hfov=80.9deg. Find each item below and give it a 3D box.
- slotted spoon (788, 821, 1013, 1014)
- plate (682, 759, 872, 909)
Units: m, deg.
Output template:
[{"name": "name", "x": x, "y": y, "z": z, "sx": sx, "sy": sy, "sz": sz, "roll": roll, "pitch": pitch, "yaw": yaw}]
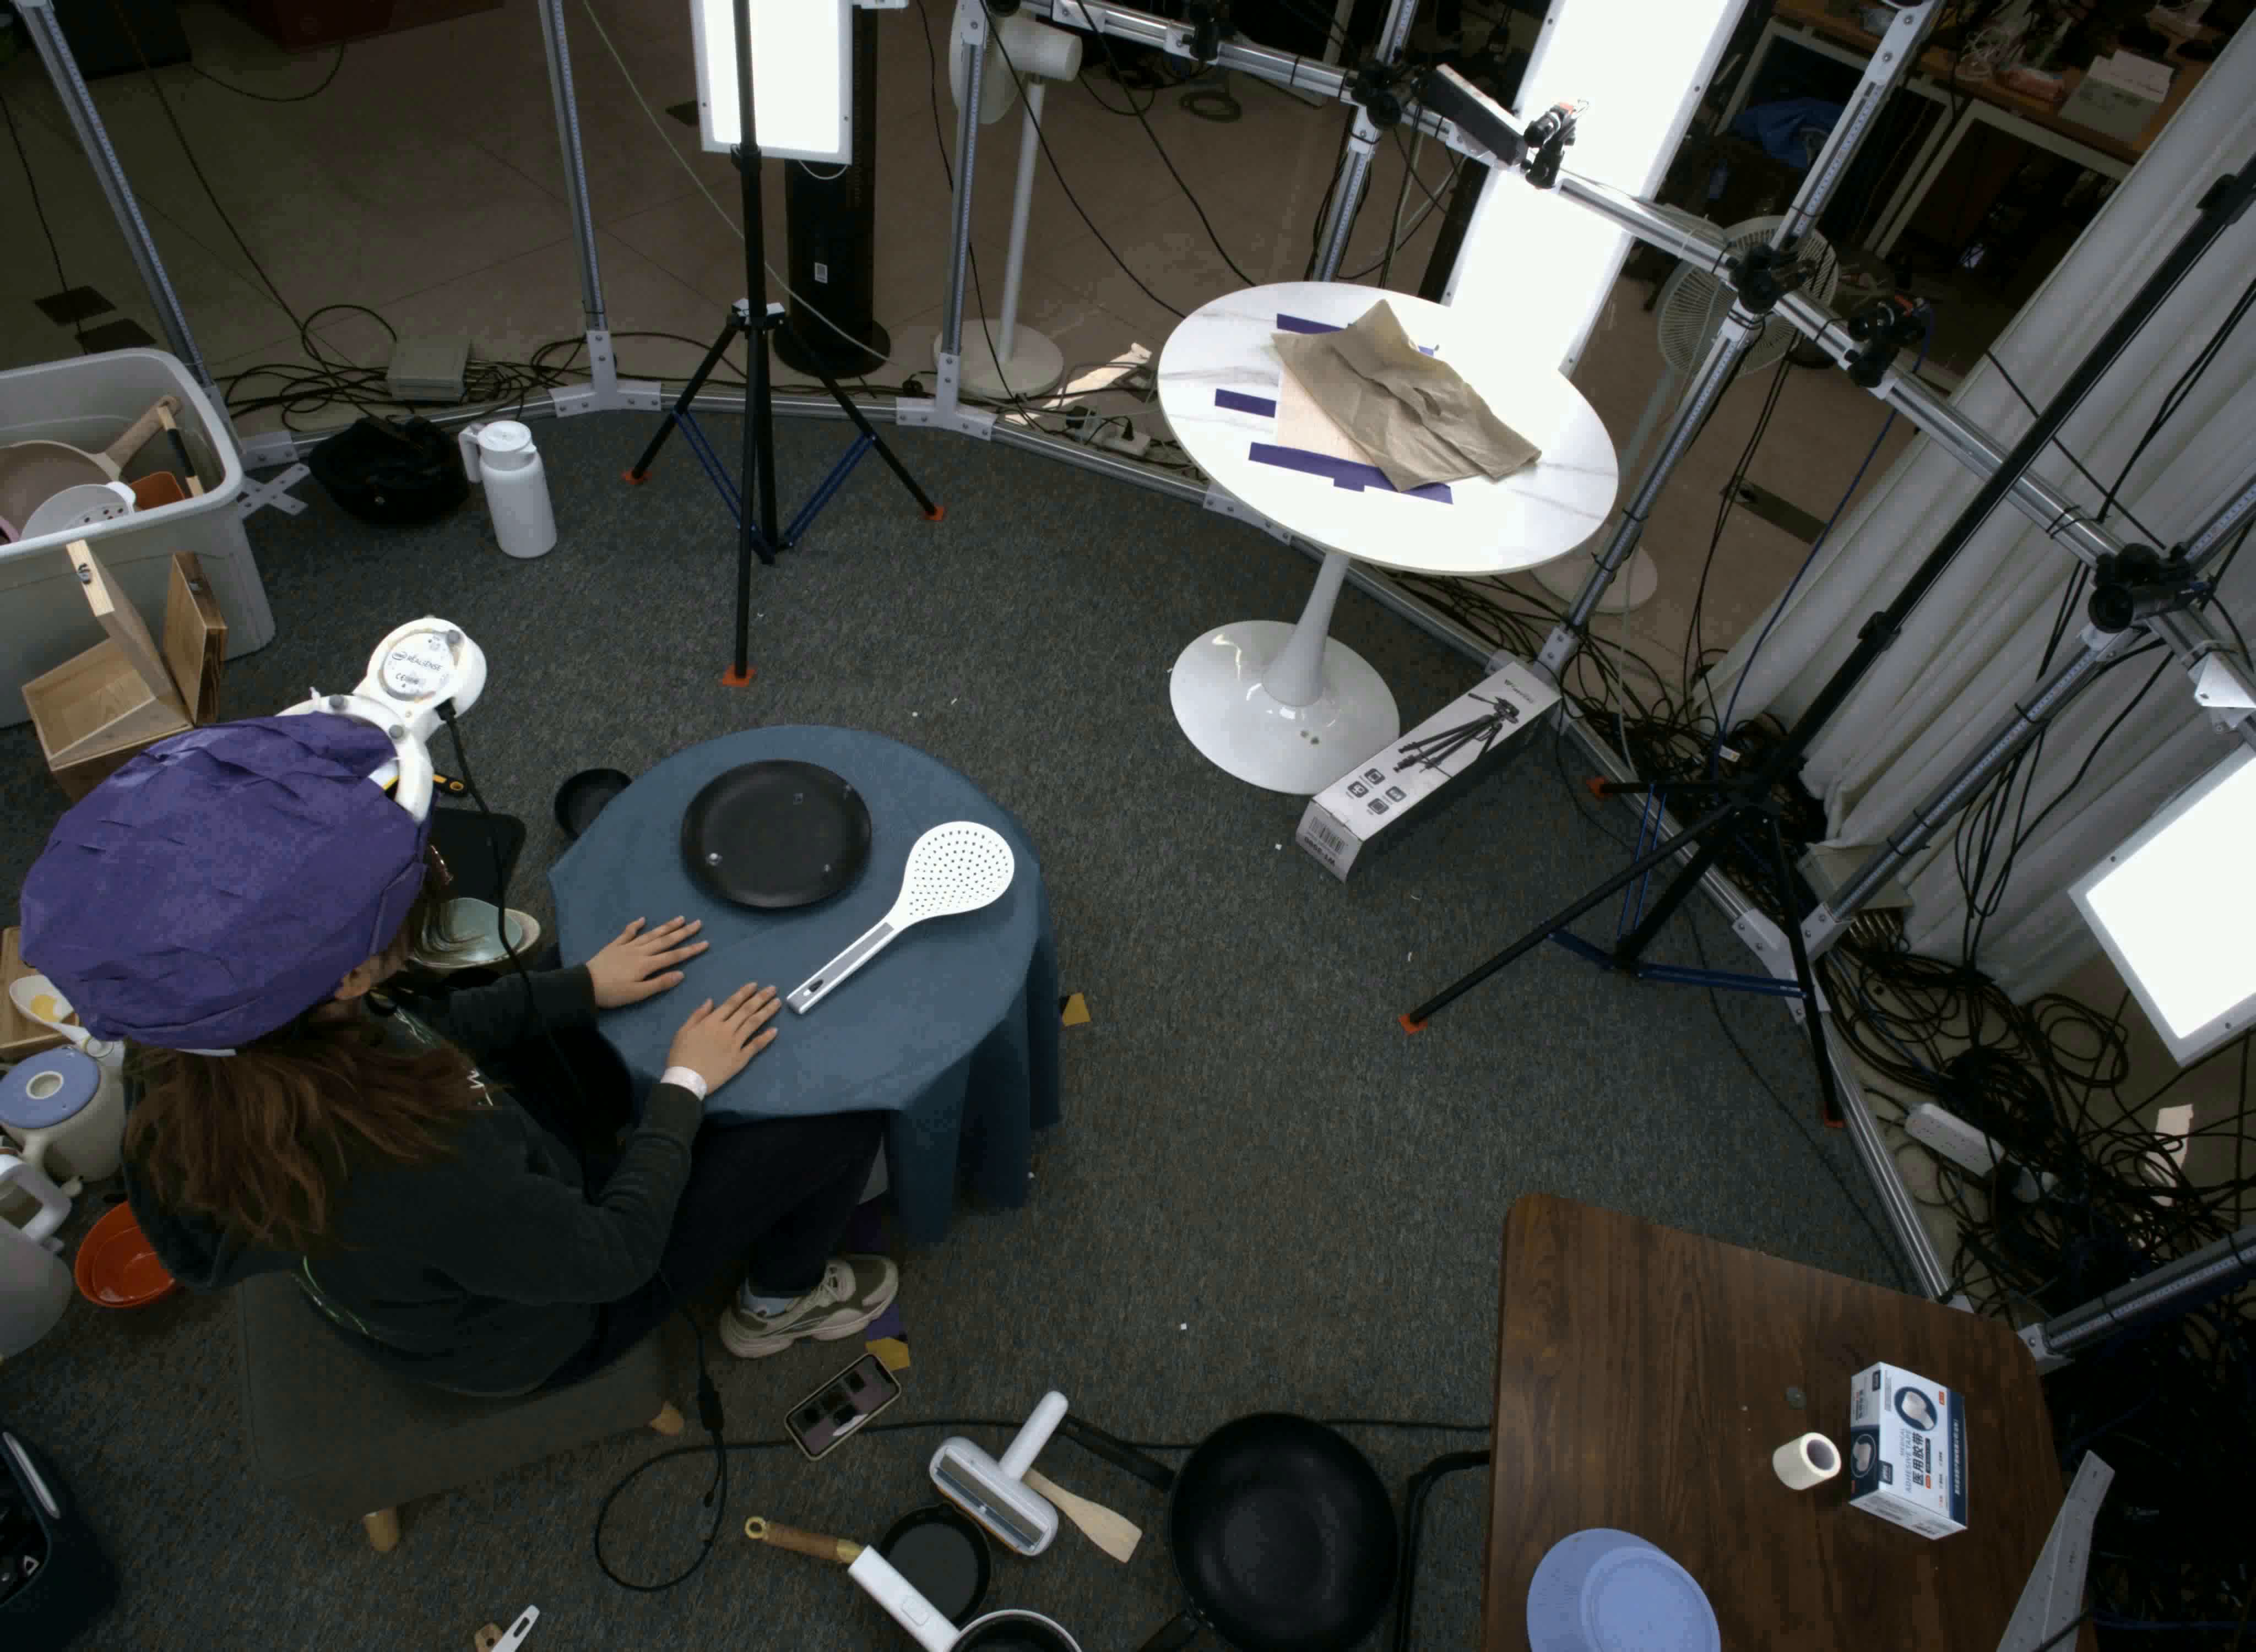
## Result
[{"name": "slotted spoon", "x": -0.289, "y": 0.116, "z": 1.649, "sx": 0.133, "sy": 0.047, "sz": 0.350, "roll": 38, "pitch": 55, "yaw": 18}, {"name": "plate", "x": -0.458, "y": 0.011, "z": 1.697, "sx": 0.244, "sy": 0.024, "sz": 0.240, "roll": 8, "pitch": 53, "yaw": -9}]
